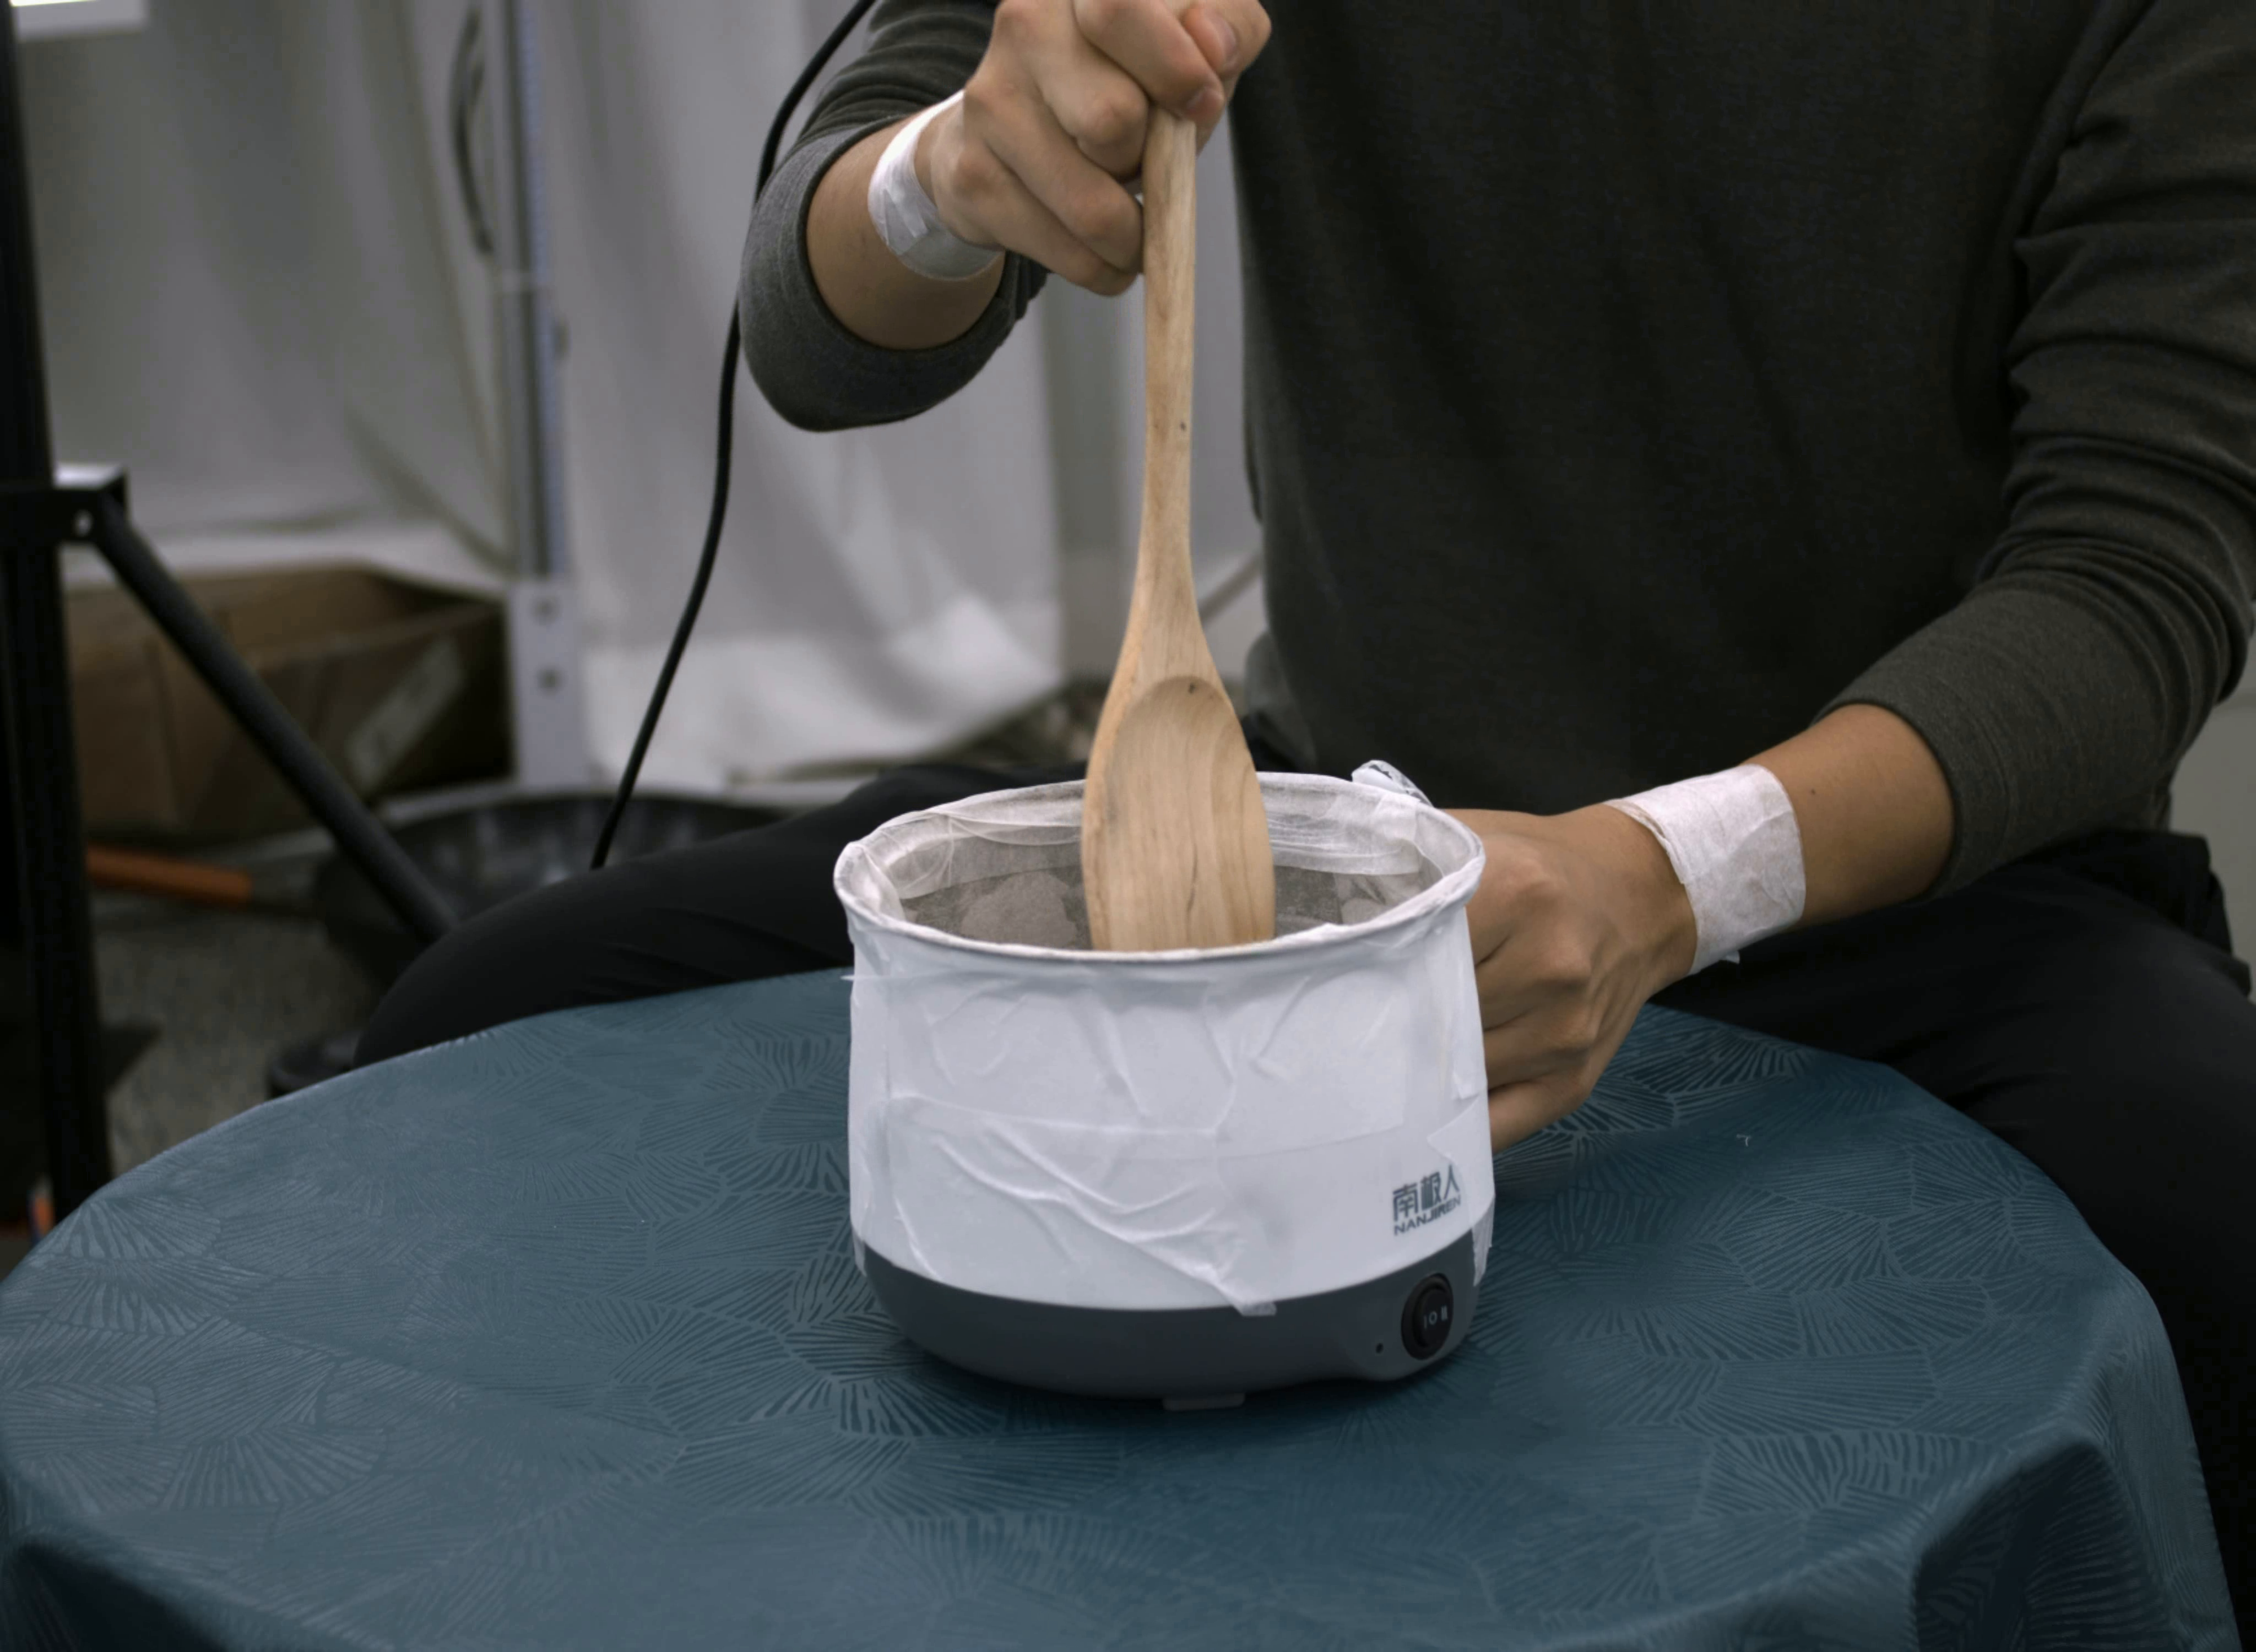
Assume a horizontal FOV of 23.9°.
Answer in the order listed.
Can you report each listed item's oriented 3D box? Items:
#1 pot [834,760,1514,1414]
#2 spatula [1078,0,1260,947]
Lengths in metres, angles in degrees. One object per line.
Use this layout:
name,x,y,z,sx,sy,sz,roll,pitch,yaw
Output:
pot,0.028,0.064,1.464,0.182,0.136,0.229,10,20,38
spatula,0.008,-0.142,1.395,0.019,0.392,0.094,3,8,26
